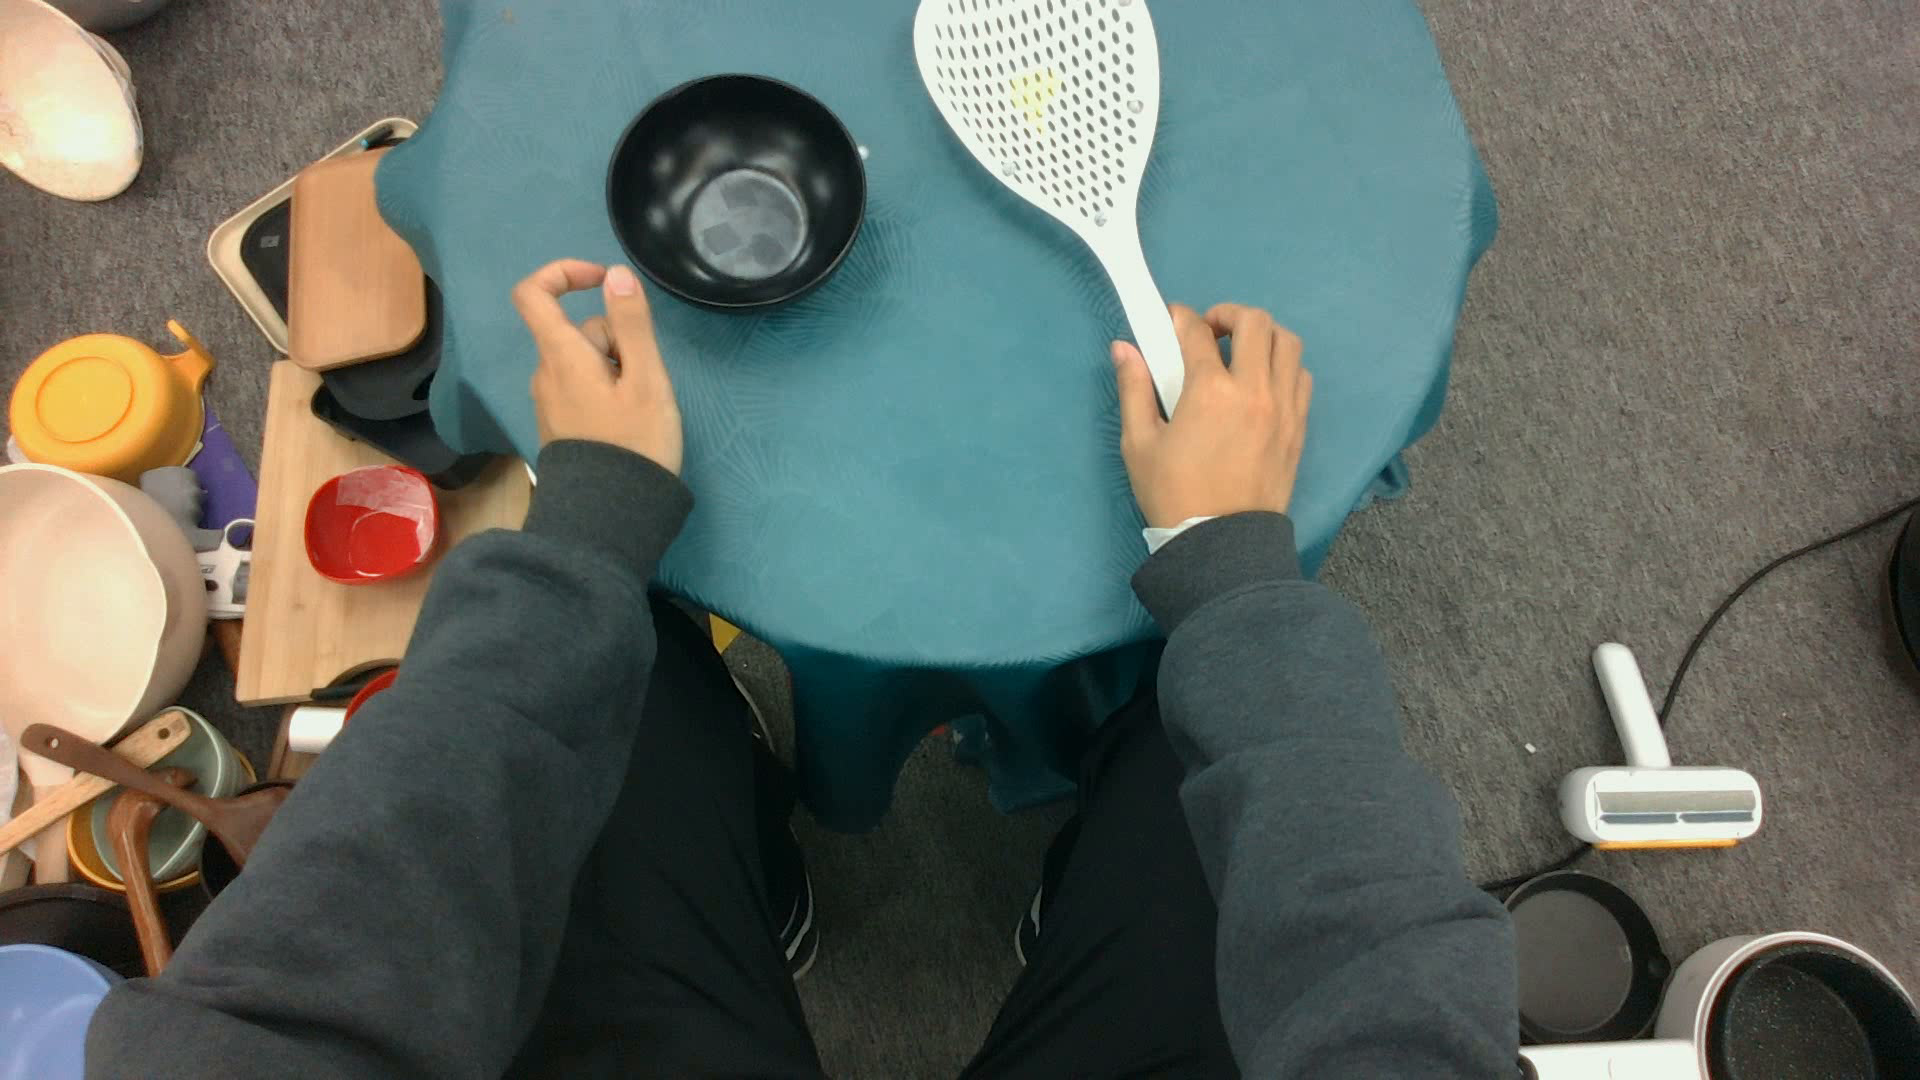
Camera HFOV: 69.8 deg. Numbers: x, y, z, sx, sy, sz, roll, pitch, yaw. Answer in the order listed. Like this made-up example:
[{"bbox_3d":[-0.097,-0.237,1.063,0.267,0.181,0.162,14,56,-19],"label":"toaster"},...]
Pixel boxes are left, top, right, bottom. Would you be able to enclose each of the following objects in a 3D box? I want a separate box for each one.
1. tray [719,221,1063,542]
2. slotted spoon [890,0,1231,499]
[{"bbox_3d":[-0.067,-0.157,1.342,0.300,0.027,0.192,41,77,8],"label":"tray"},{"bbox_3d":[0.071,-0.183,0.773,0.137,0.050,0.348,-21,78,-9],"label":"slotted spoon"}]
